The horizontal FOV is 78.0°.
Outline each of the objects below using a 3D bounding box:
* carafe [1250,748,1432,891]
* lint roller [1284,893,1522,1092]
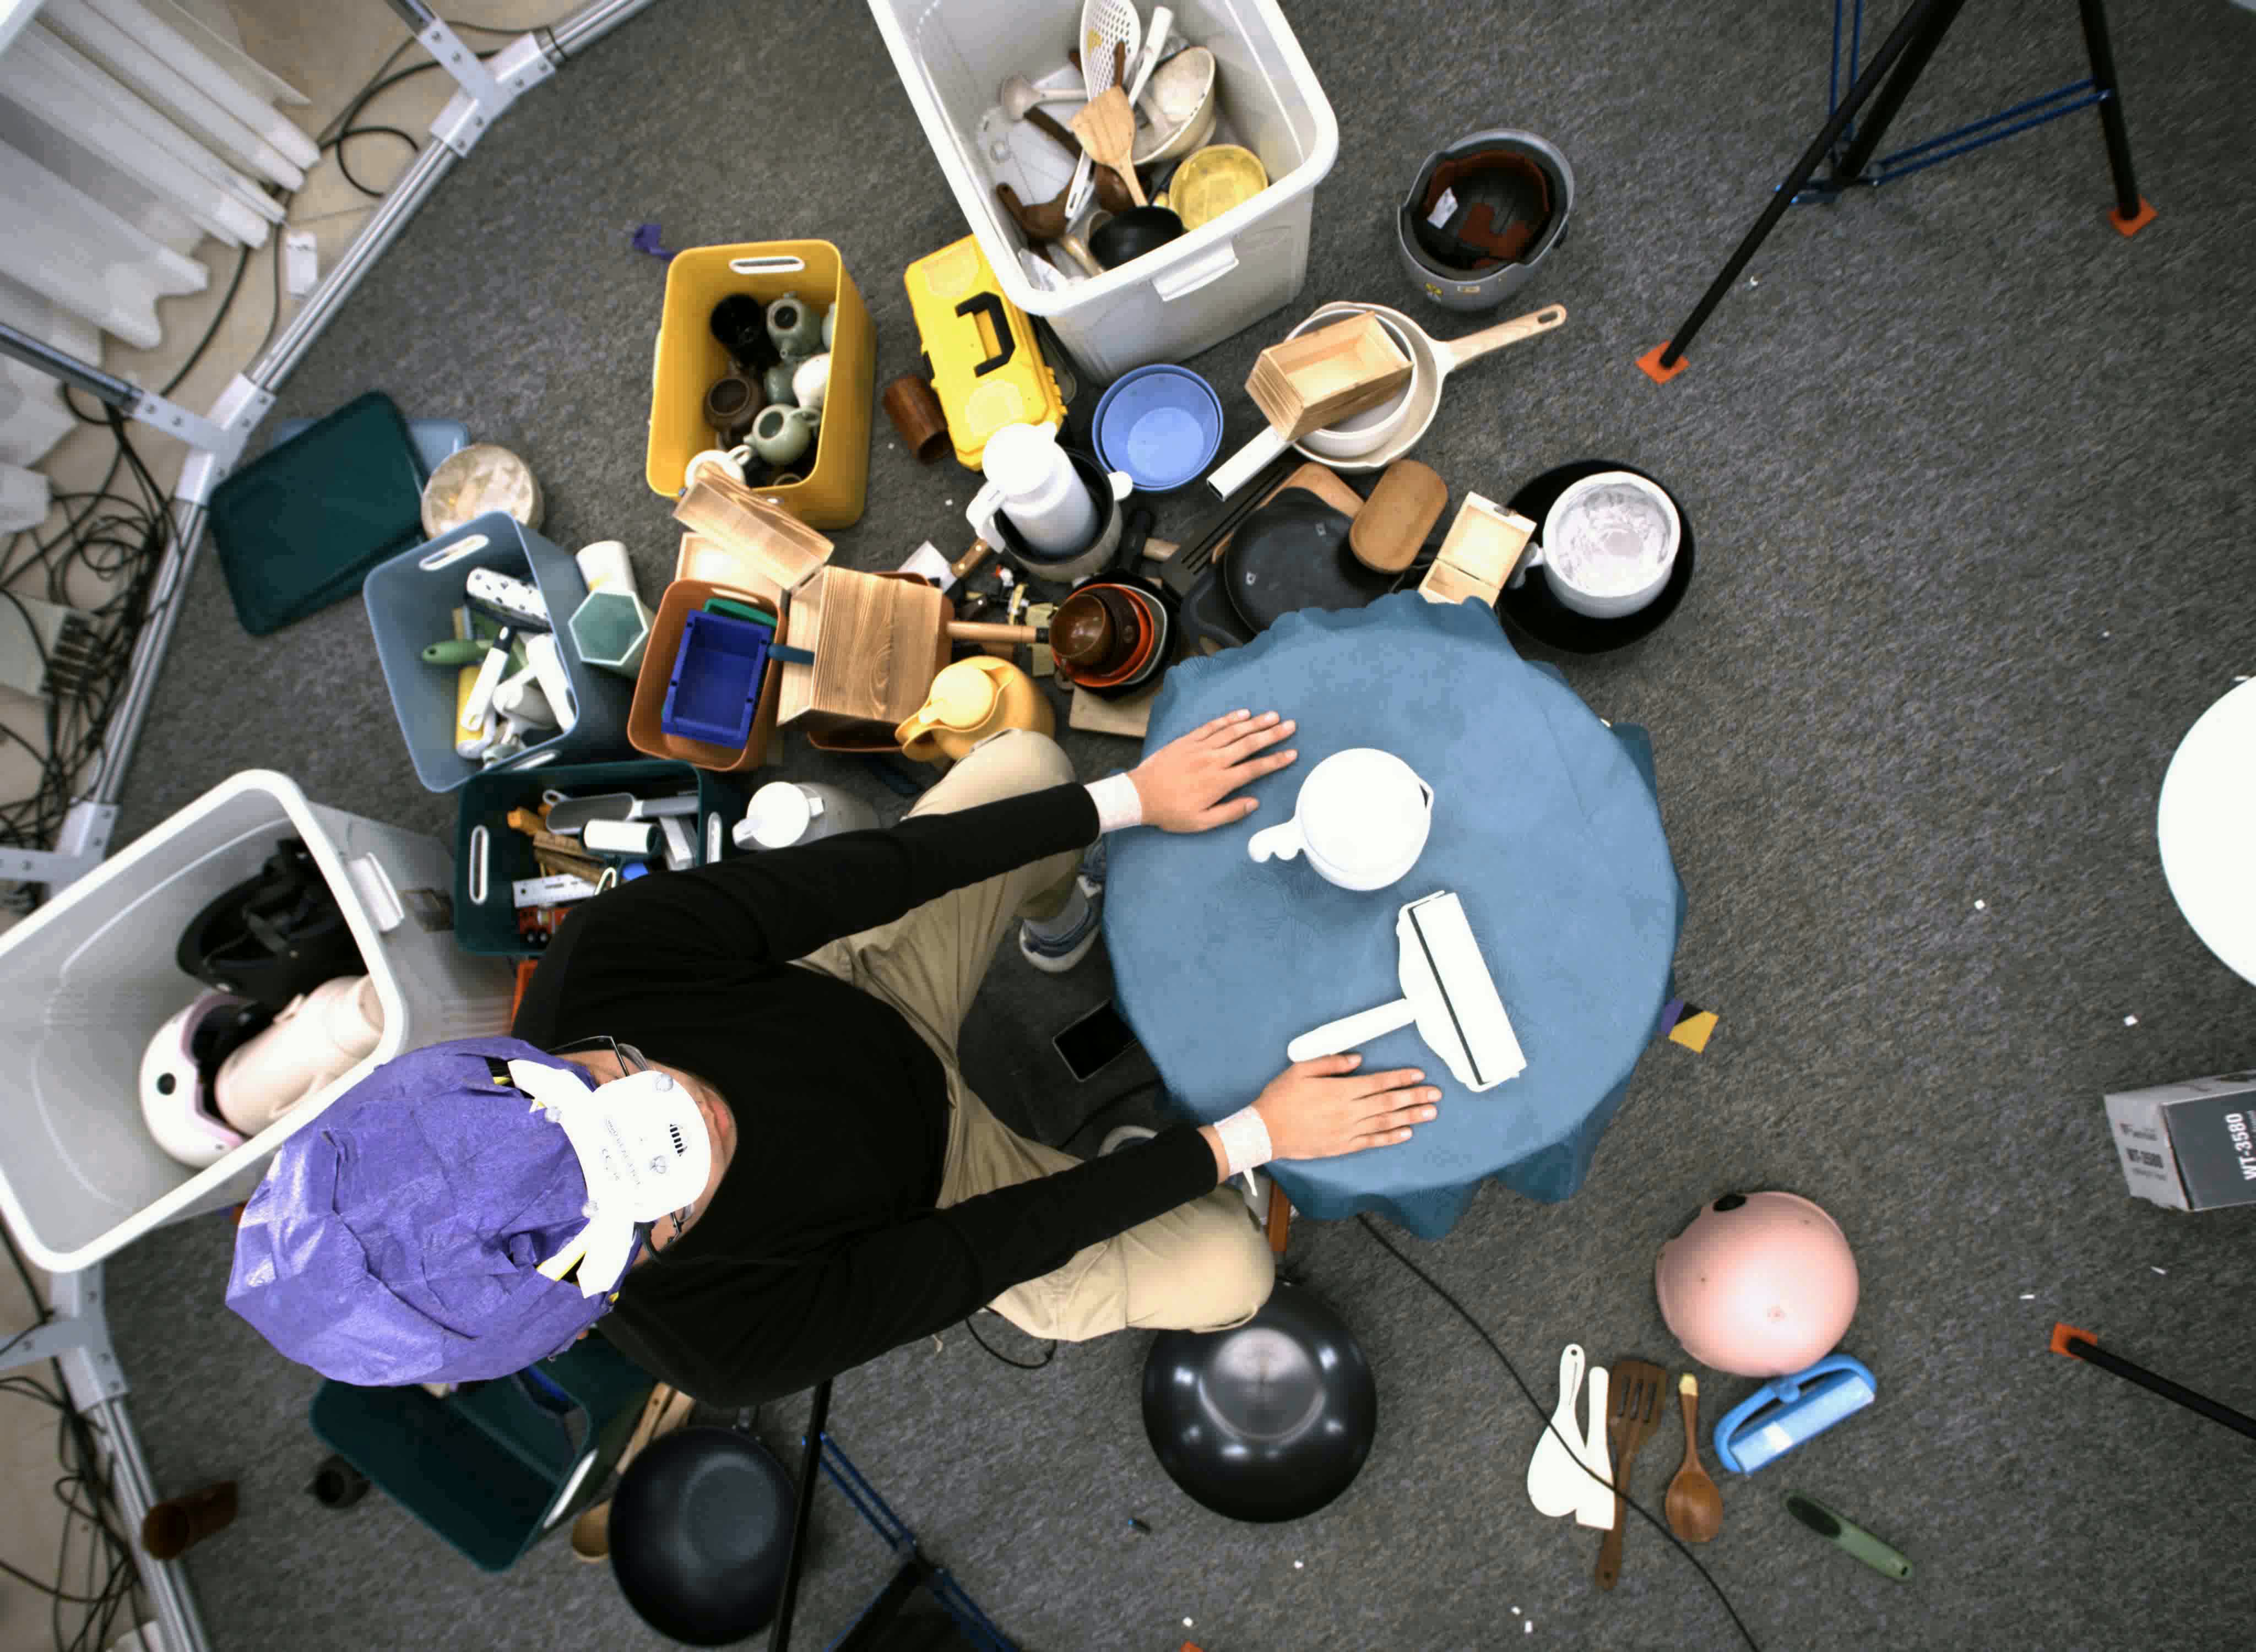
[{"bbox_3d":[0.212,0.002,1.388,0.192,0.182,0.131,-18,81,10],"label":"carafe"},{"bbox_3d":[0.267,0.199,1.432,0.227,0.048,0.202,-23,84,10],"label":"lint roller"}]
